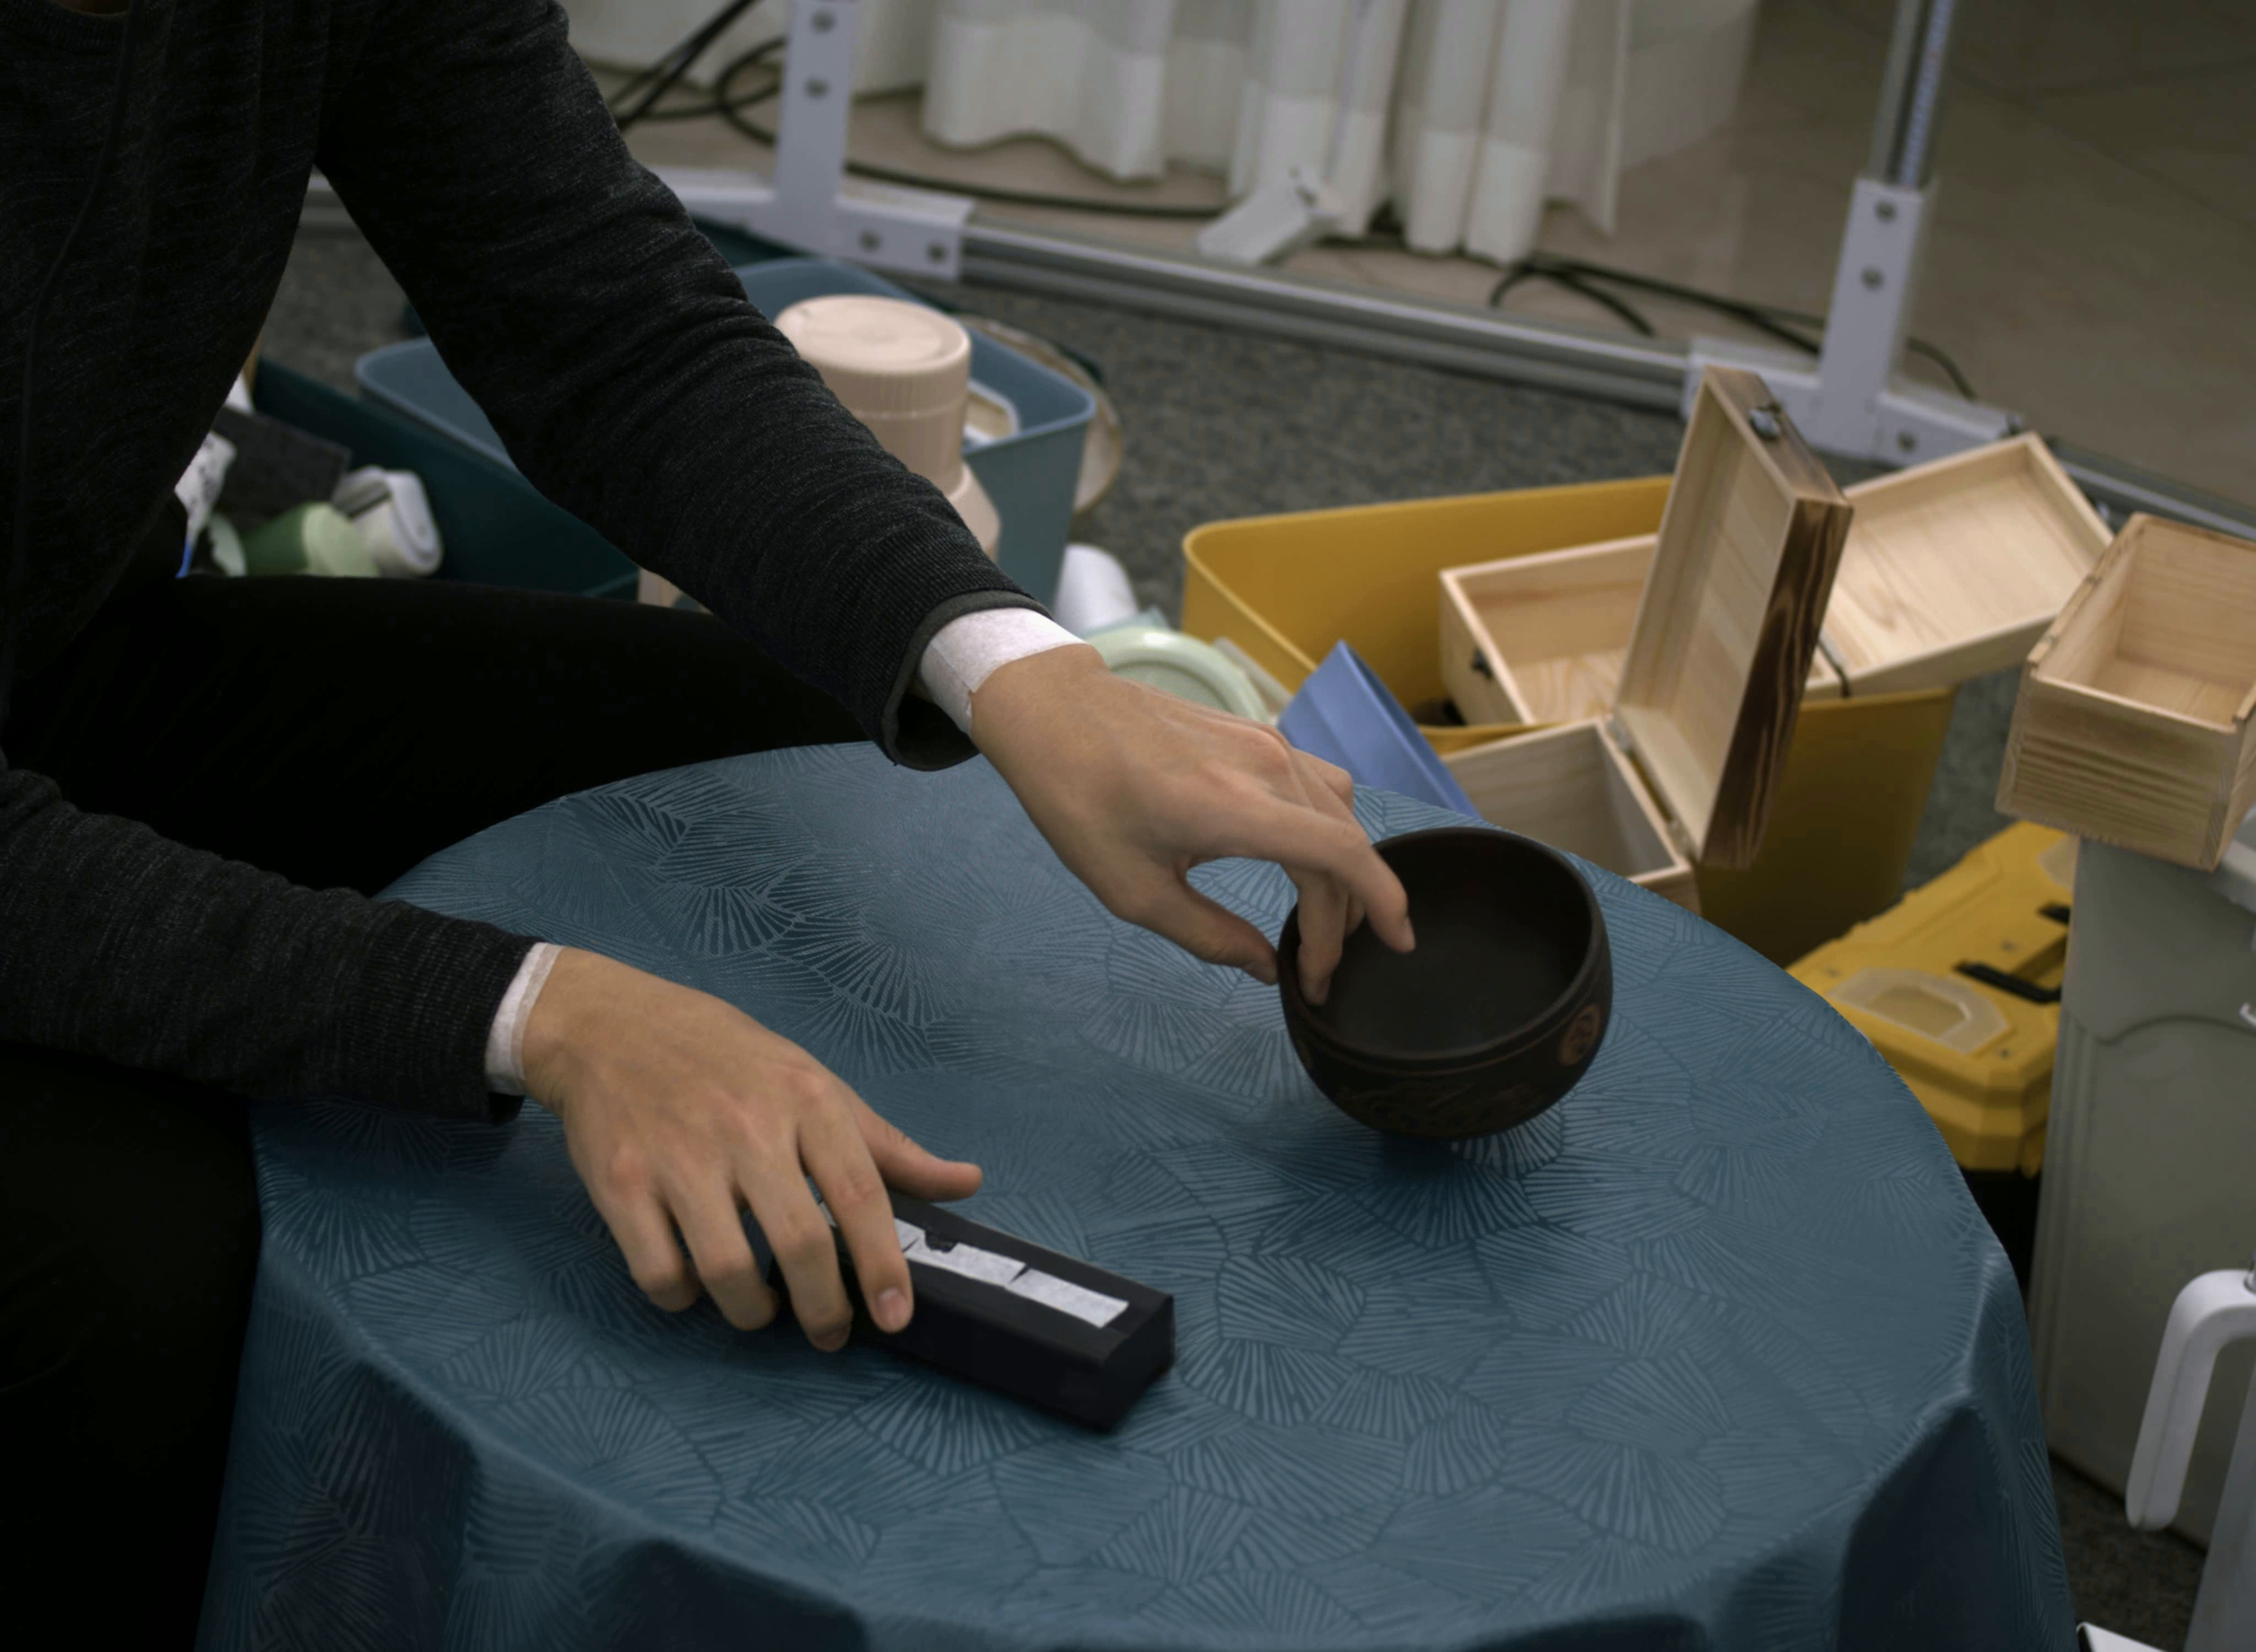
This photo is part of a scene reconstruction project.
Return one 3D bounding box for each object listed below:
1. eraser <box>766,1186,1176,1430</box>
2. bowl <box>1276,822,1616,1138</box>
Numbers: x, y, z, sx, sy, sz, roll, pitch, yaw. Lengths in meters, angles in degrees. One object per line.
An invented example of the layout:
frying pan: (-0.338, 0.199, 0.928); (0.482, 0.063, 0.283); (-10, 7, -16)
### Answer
eraser: (-0.050, 0.153, 1.701); (0.126, 0.030, 0.053); (18, 26, 21)
bowl: (0.113, 0.062, 1.854); (0.118, 0.069, 0.119); (-8, 41, 6)
